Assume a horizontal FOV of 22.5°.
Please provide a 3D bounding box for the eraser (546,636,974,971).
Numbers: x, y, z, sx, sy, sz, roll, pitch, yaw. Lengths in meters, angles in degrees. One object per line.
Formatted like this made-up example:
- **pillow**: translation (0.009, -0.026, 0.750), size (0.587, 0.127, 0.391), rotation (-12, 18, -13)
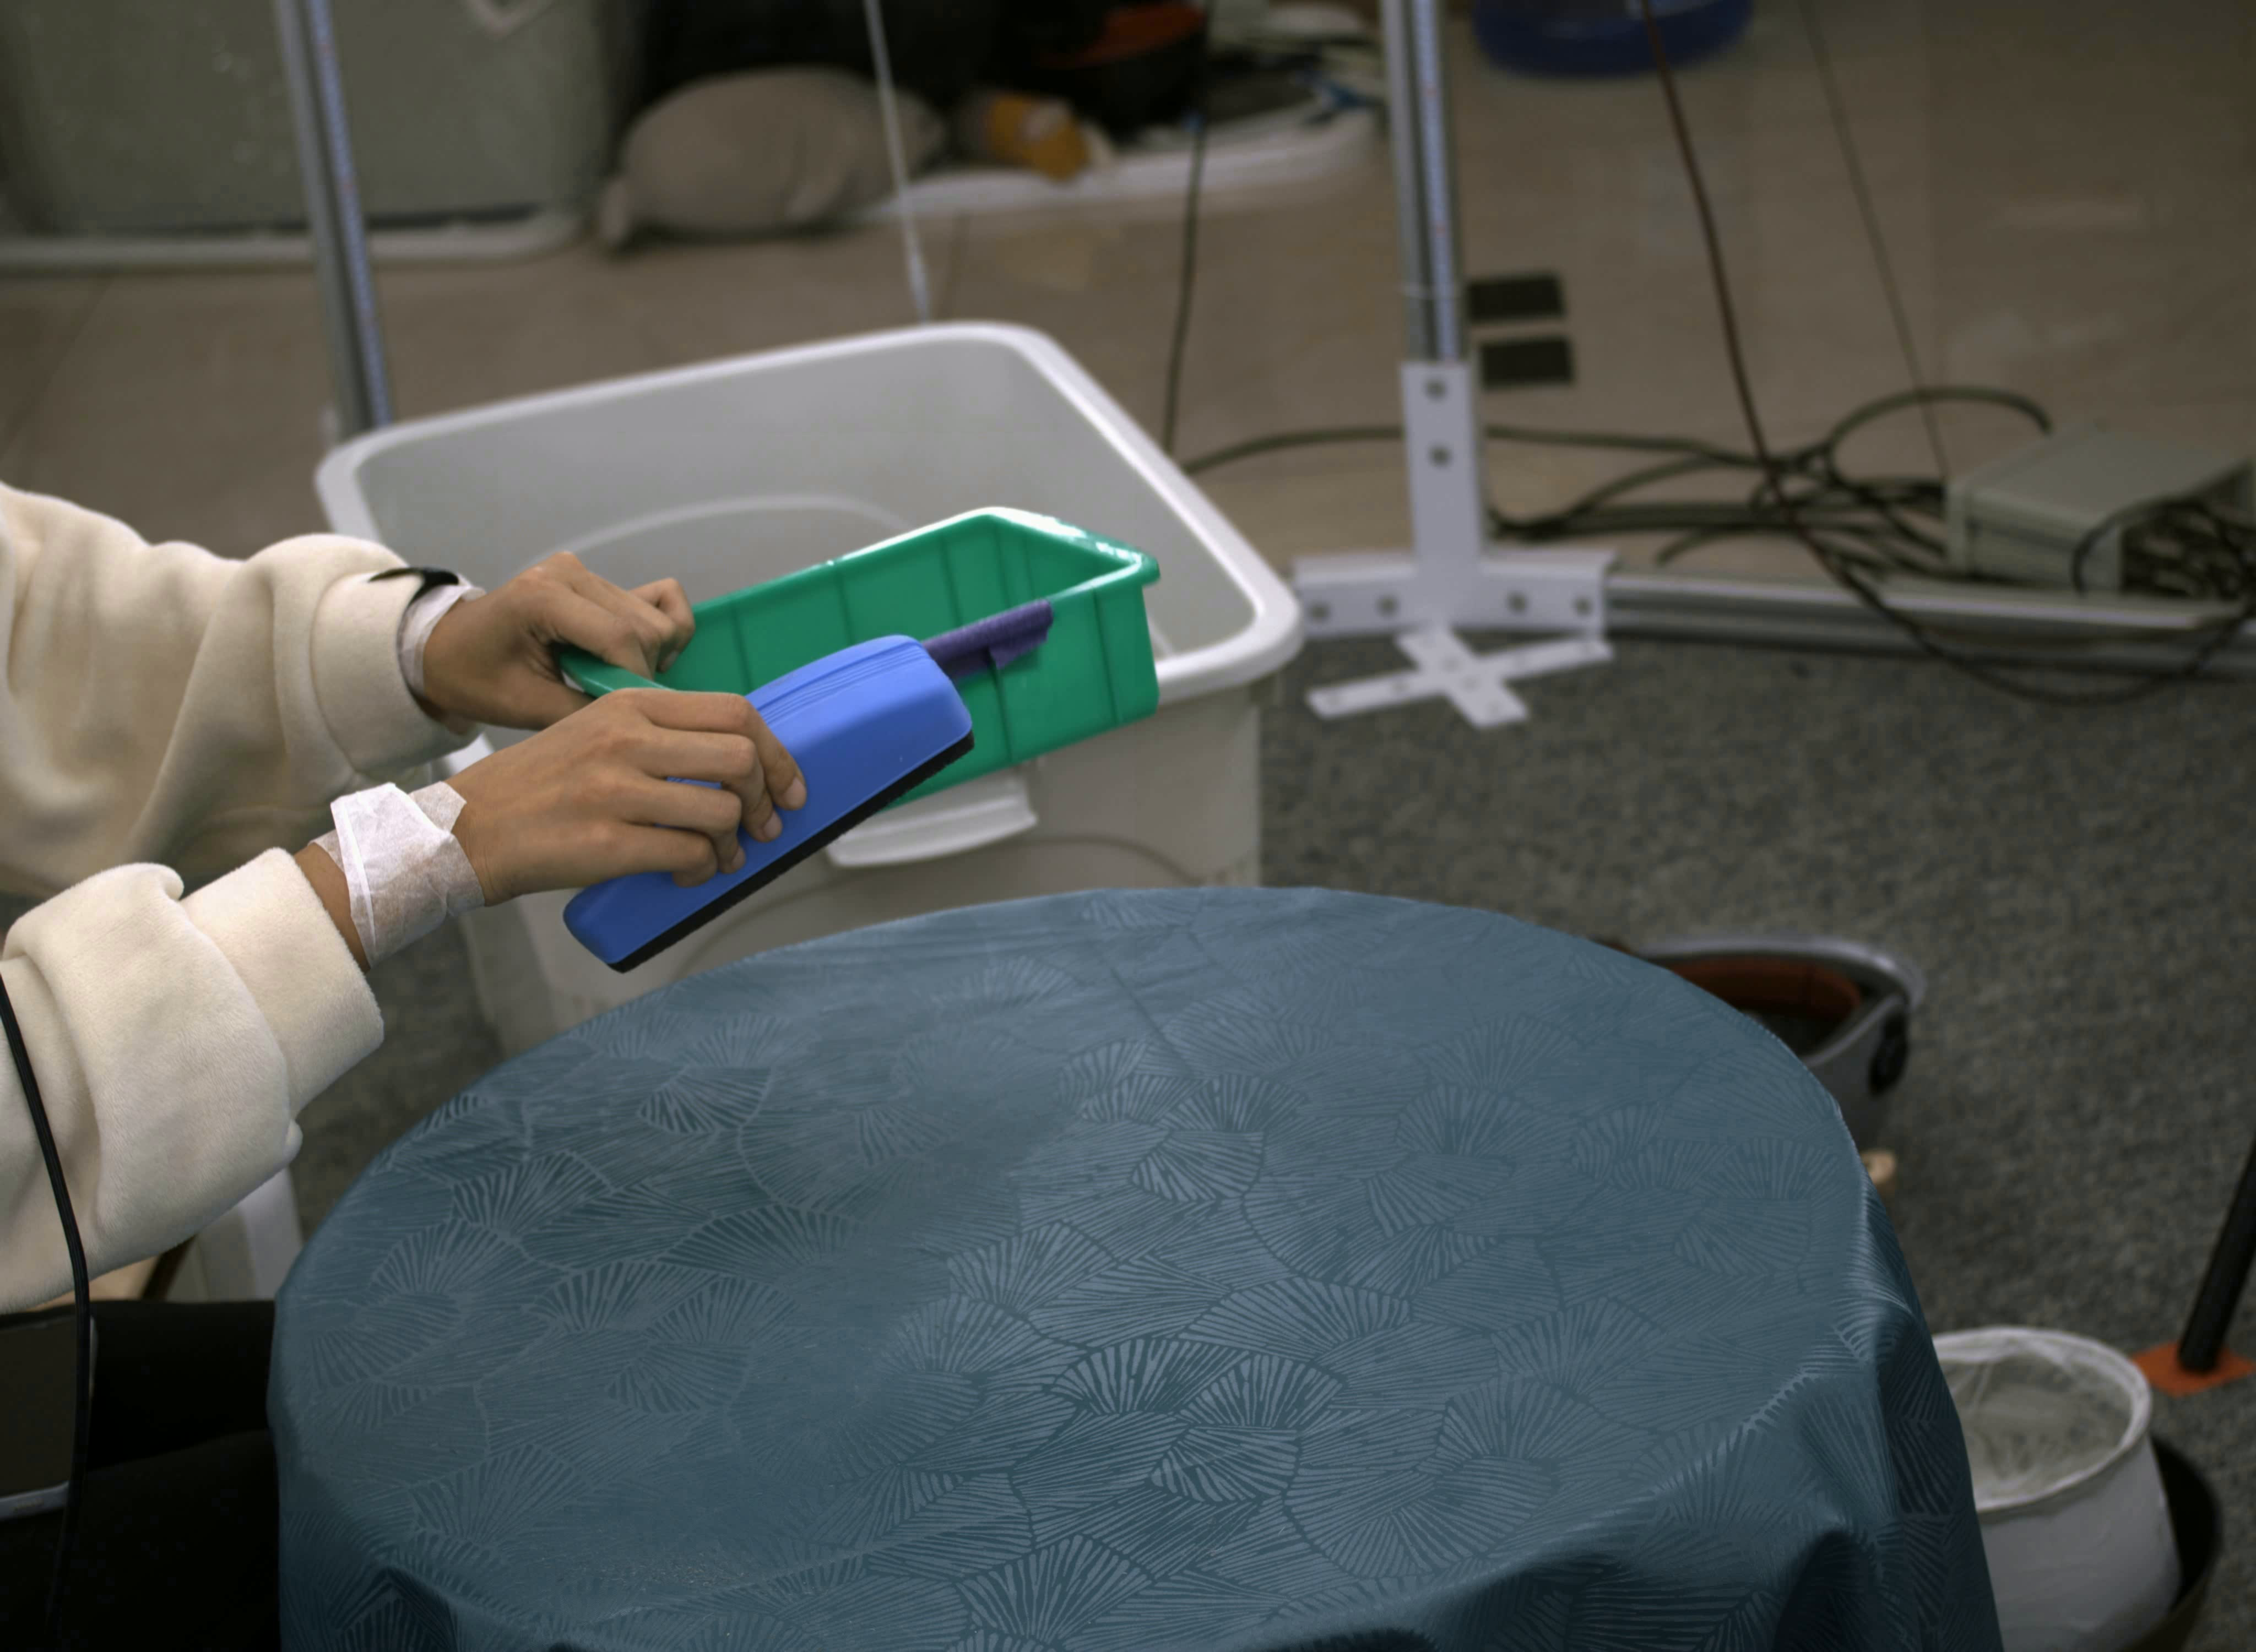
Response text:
- **eraser**: translation (-0.135, -0.013, 2.032), size (0.162, 0.048, 0.053), rotation (-34, 33, -6)

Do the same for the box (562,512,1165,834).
- **box**: translation (-0.097, -0.055, 2.155), size (0.209, 0.066, 0.137), rotation (-19, 24, -27)
